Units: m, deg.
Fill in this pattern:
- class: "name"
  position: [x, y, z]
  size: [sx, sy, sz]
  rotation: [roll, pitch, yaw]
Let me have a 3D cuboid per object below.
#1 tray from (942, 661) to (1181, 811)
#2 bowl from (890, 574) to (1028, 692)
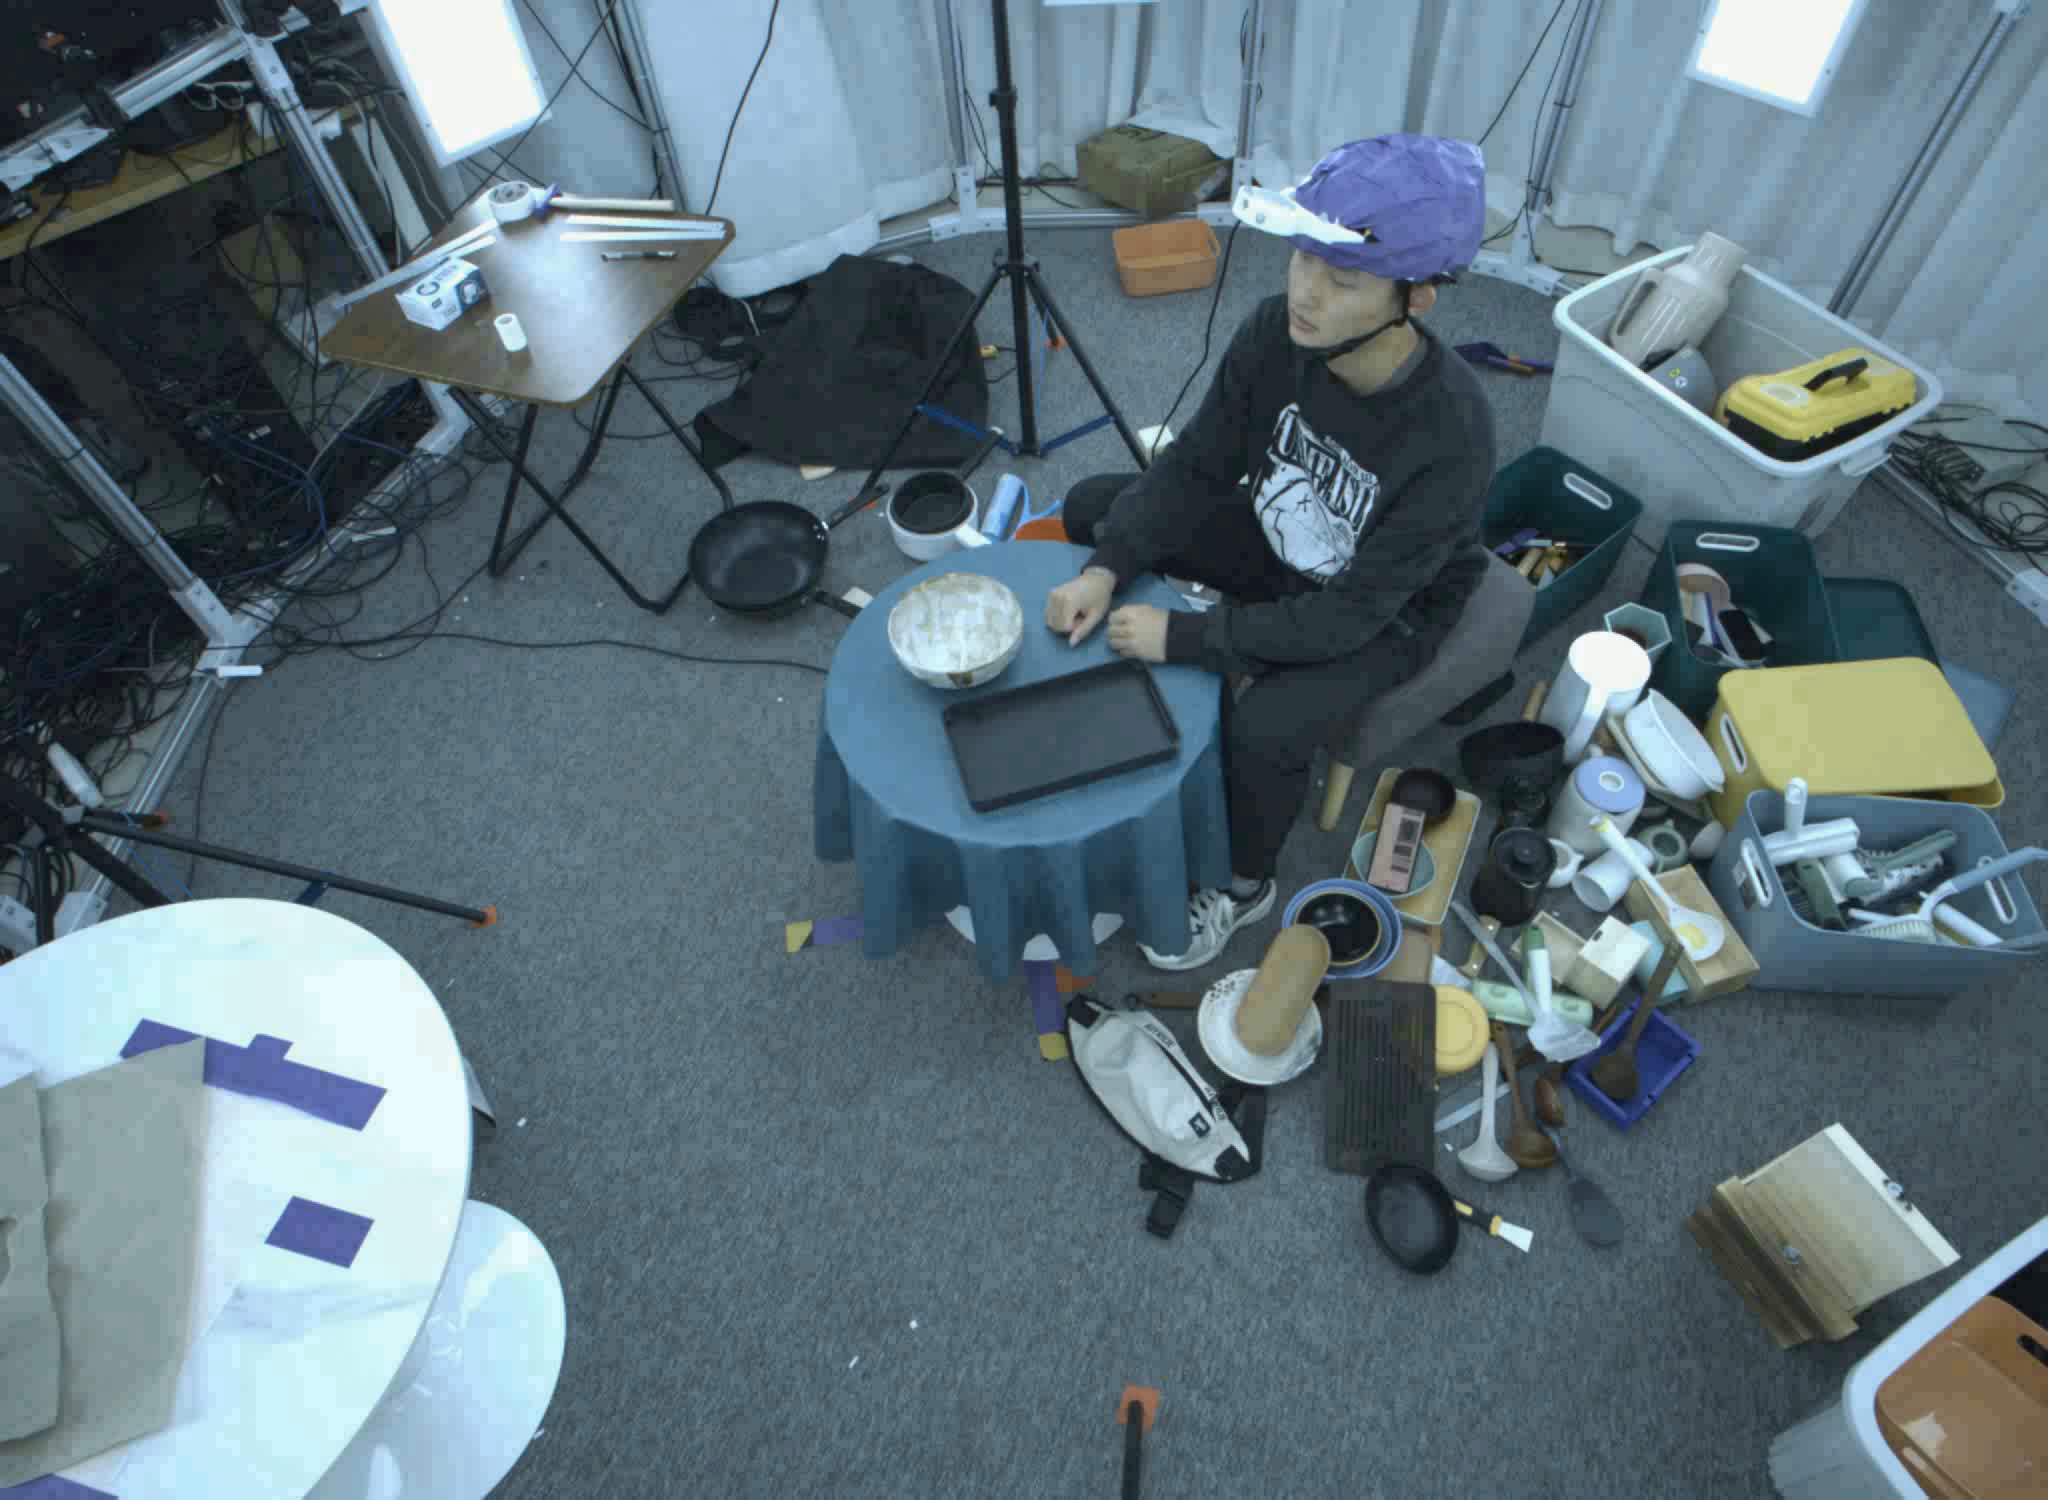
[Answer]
- class: "tray"
  position: [0.053, -0.023, 1.787]
  size: [0.320, 0.037, 0.181]
  rotation: [-13, 54, -10]
- class: "bowl"
  position: [-0.093, -0.161, 1.857]
  size: [0.214, 0.095, 0.212]
  rotation: [-1, 54, 2]
